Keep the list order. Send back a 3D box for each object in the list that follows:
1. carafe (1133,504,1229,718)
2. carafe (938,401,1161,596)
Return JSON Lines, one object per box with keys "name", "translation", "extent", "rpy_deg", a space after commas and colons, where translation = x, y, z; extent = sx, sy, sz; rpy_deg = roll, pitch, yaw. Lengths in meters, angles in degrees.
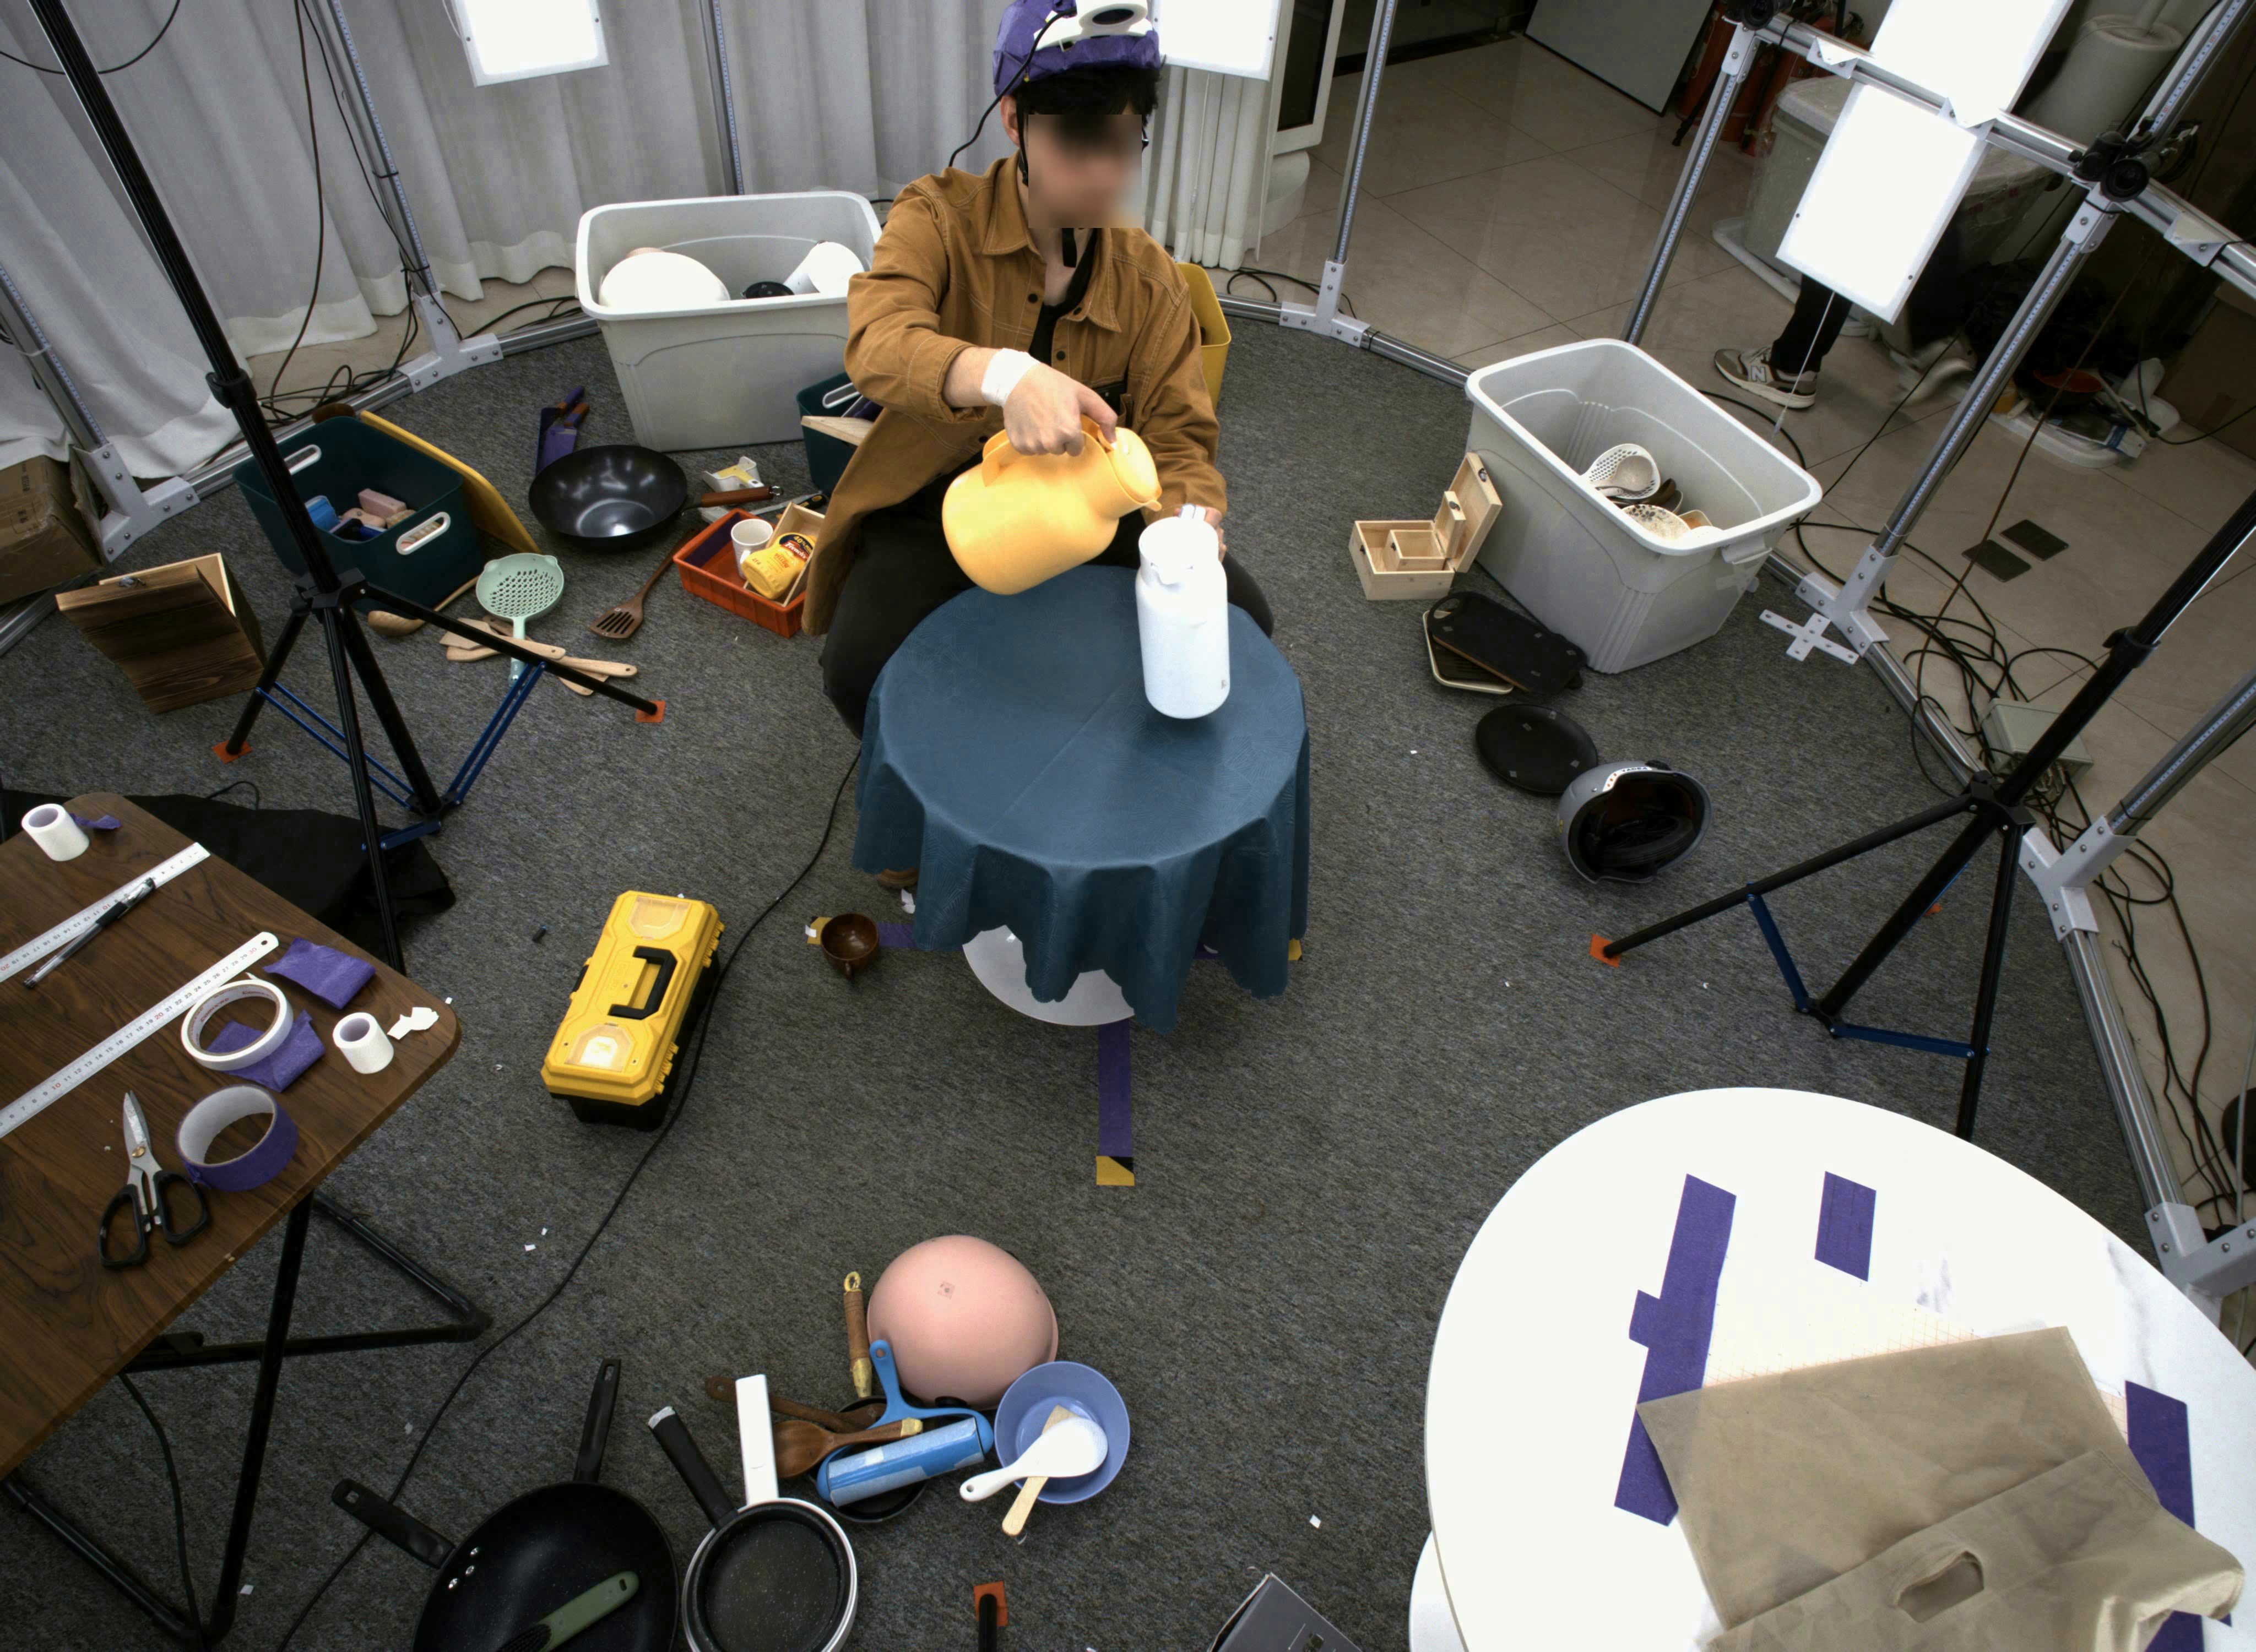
{"name": "carafe", "translation": [0.073, -0.284, 1.690], "extent": [0.124, 0.262, 0.176], "rpy_deg": [5, 51, 14]}
{"name": "carafe", "translation": [-0.102, -0.399, 1.538], "extent": [0.259, 0.198, 0.167], "rpy_deg": [-20, 51, 29]}
